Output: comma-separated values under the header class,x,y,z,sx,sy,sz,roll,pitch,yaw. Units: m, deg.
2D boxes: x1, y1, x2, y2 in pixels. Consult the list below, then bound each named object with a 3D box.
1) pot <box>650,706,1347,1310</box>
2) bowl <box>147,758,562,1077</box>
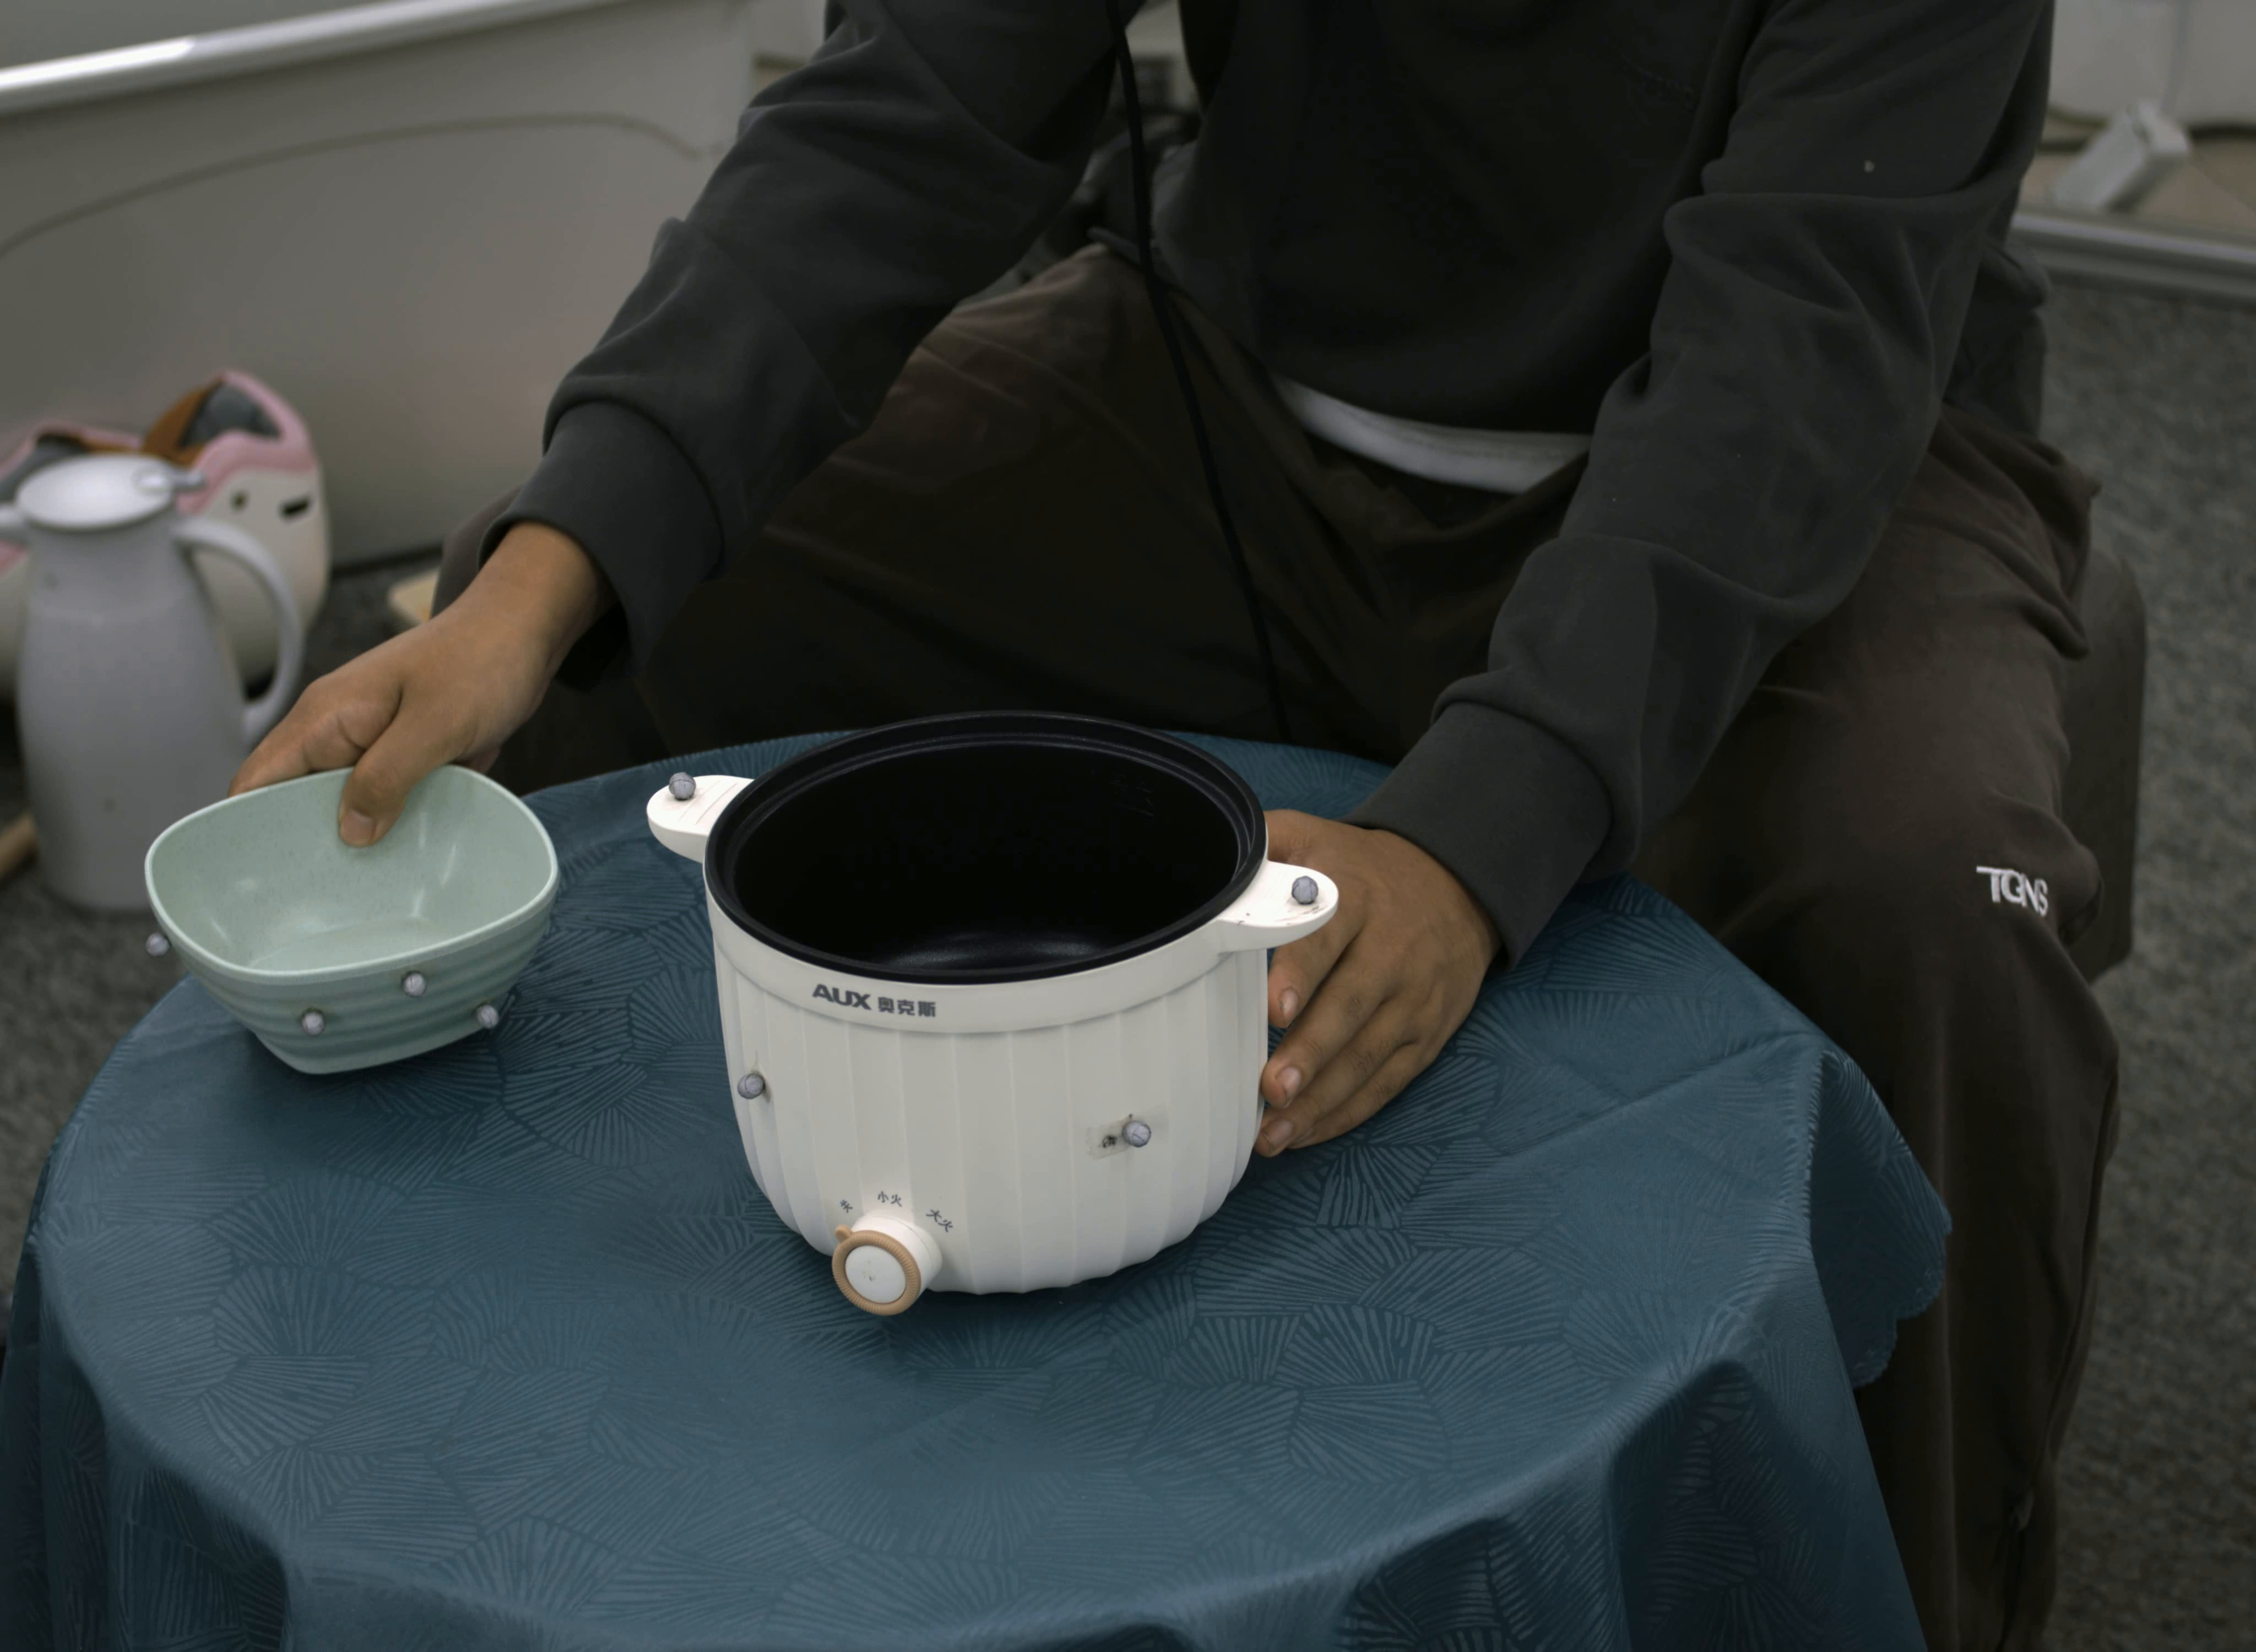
class,x,y,z,sx,sy,sz,roll,pitch,yaw
pot,-0.042,0.063,1.831,0.238,0.141,0.193,6,25,20
bowl,-0.269,0.039,1.974,0.151,0.058,0.154,-1,30,1
